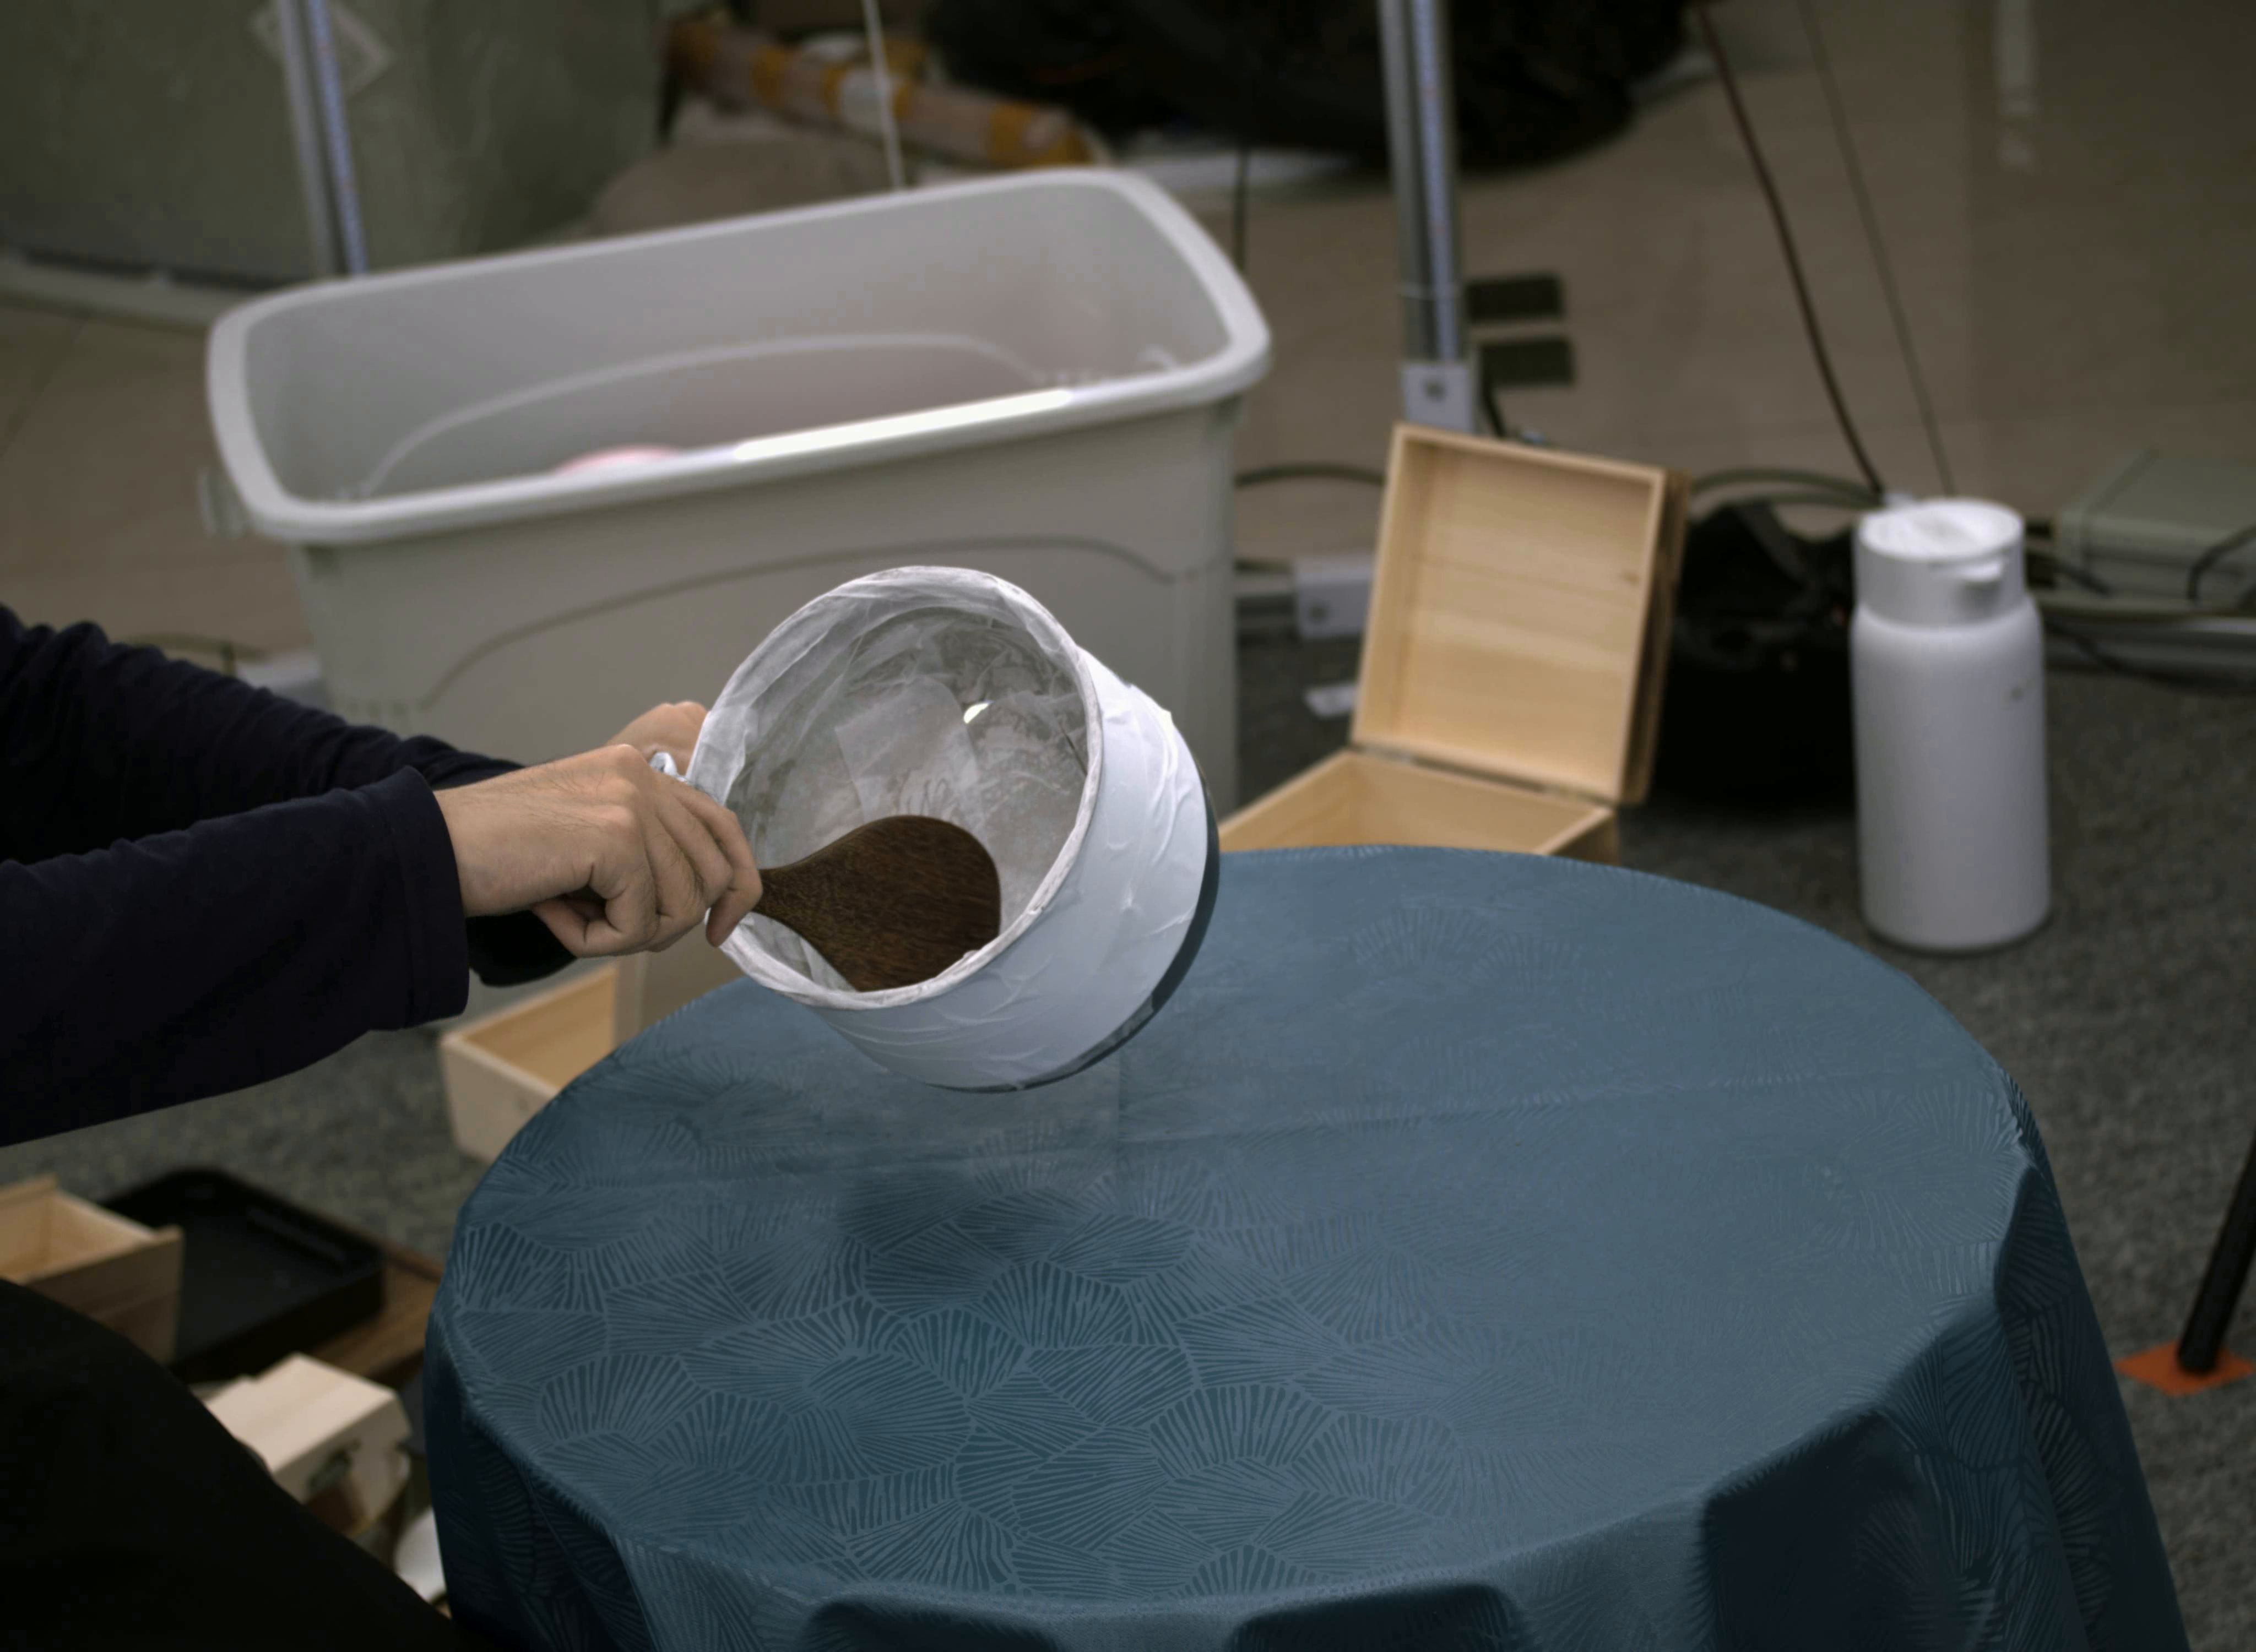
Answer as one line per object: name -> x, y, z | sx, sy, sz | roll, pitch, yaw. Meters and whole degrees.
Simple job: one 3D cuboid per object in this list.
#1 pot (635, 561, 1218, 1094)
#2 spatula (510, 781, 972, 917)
pot -> -0.088, 0.005, 2.174 | 0.233, 0.138, 0.177 | 2, 70, 26
spatula -> -0.142, 0.015, 2.055 | 0.215, 0.073, 0.009 | -6, 50, -46
